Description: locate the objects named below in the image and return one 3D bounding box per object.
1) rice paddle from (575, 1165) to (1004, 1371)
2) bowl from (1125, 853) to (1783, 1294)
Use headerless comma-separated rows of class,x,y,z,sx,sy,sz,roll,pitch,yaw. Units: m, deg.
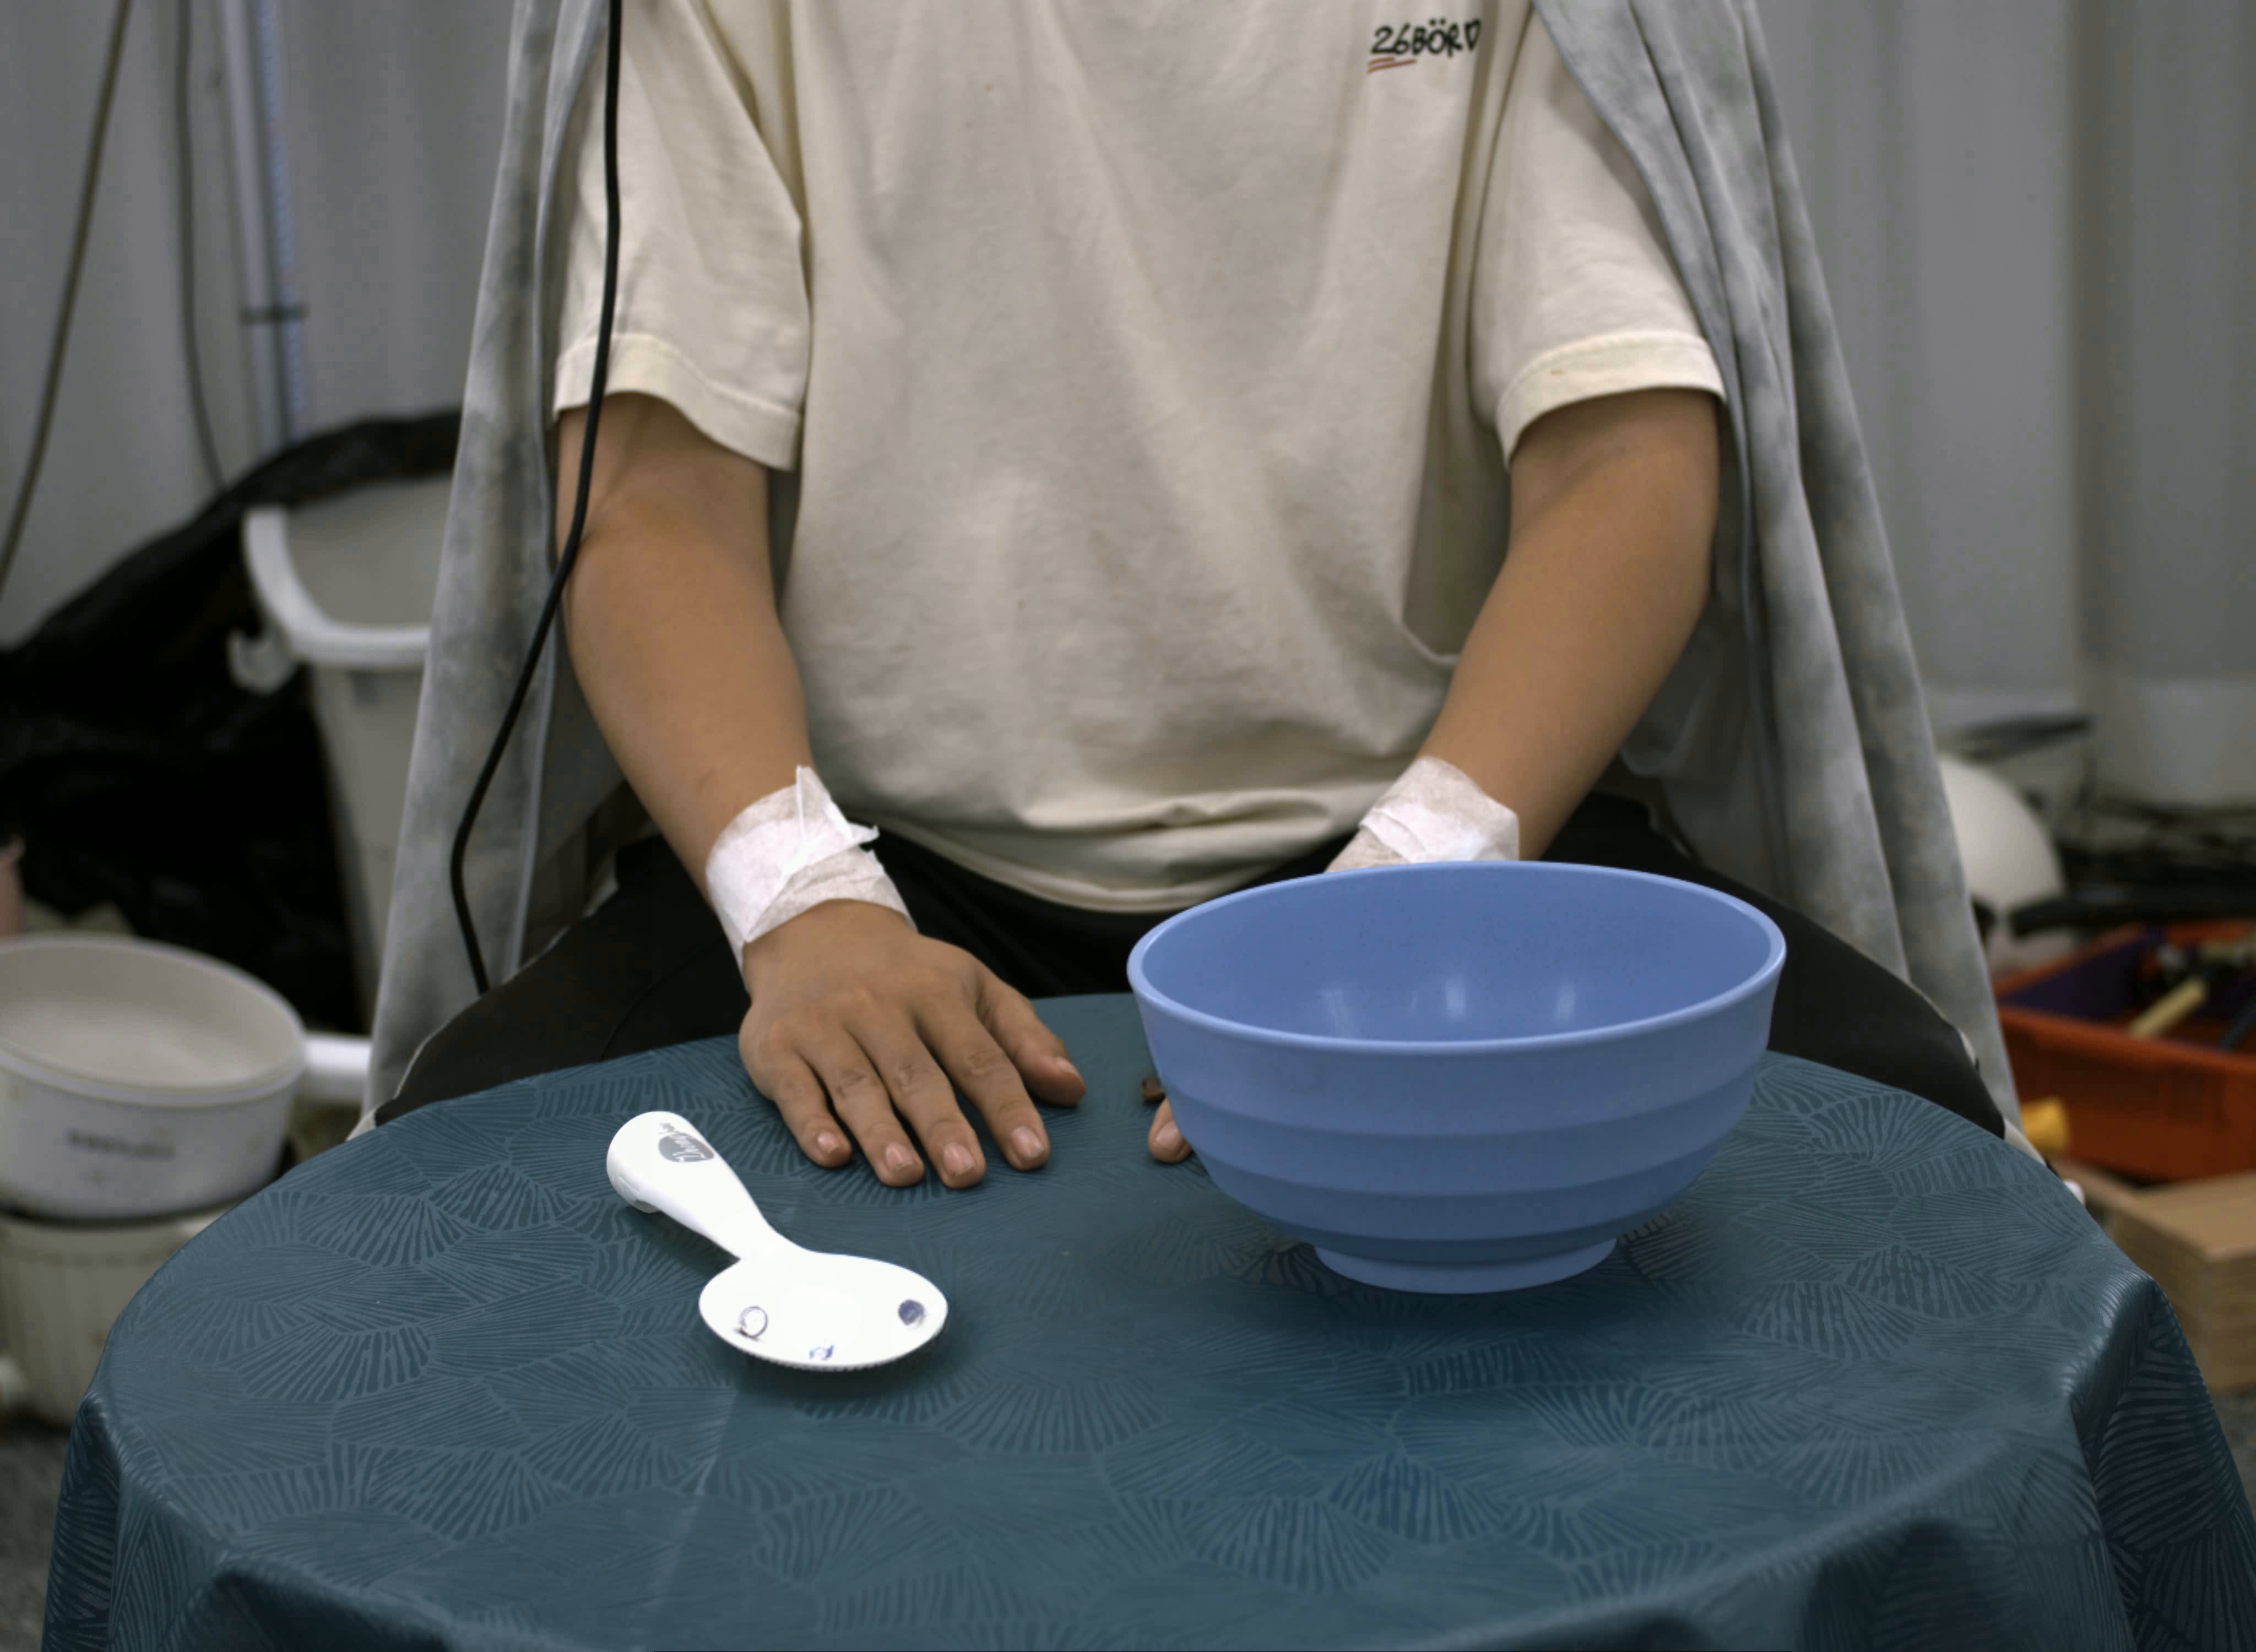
rice paddle,-0.104,0.134,1.629,0.068,0.029,0.206,3,6,-33
bowl,0.099,0.080,1.643,0.196,0.095,0.198,-4,16,1
